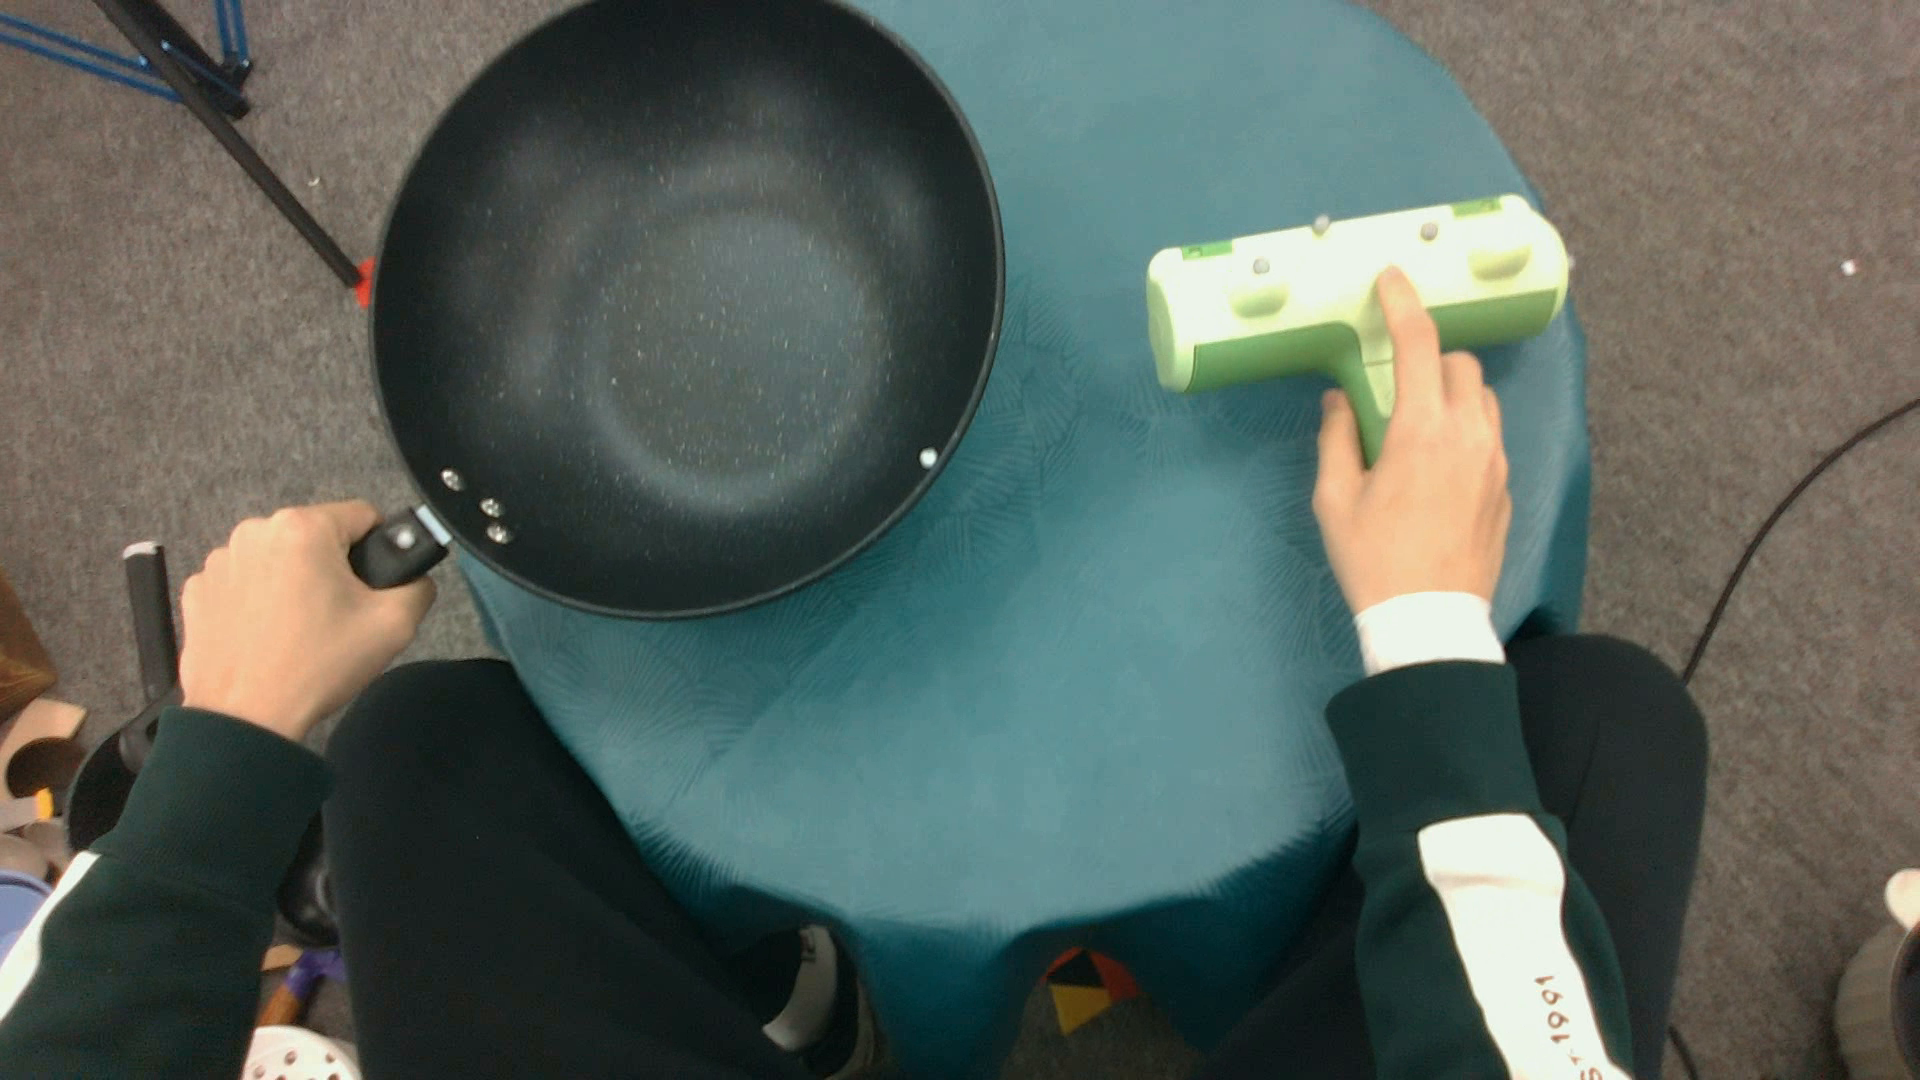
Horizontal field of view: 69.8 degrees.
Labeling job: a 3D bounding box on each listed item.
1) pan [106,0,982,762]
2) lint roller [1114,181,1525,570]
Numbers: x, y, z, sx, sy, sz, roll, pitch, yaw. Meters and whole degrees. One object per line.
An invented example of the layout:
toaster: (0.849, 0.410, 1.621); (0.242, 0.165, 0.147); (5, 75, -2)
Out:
pan: (-0.199, -0.064, 0.670); (0.477, 0.111, 0.310); (-45, 77, -2)
lint roller: (0.187, -0.081, 0.640); (0.199, 0.082, 0.184); (-11, 65, -9)
